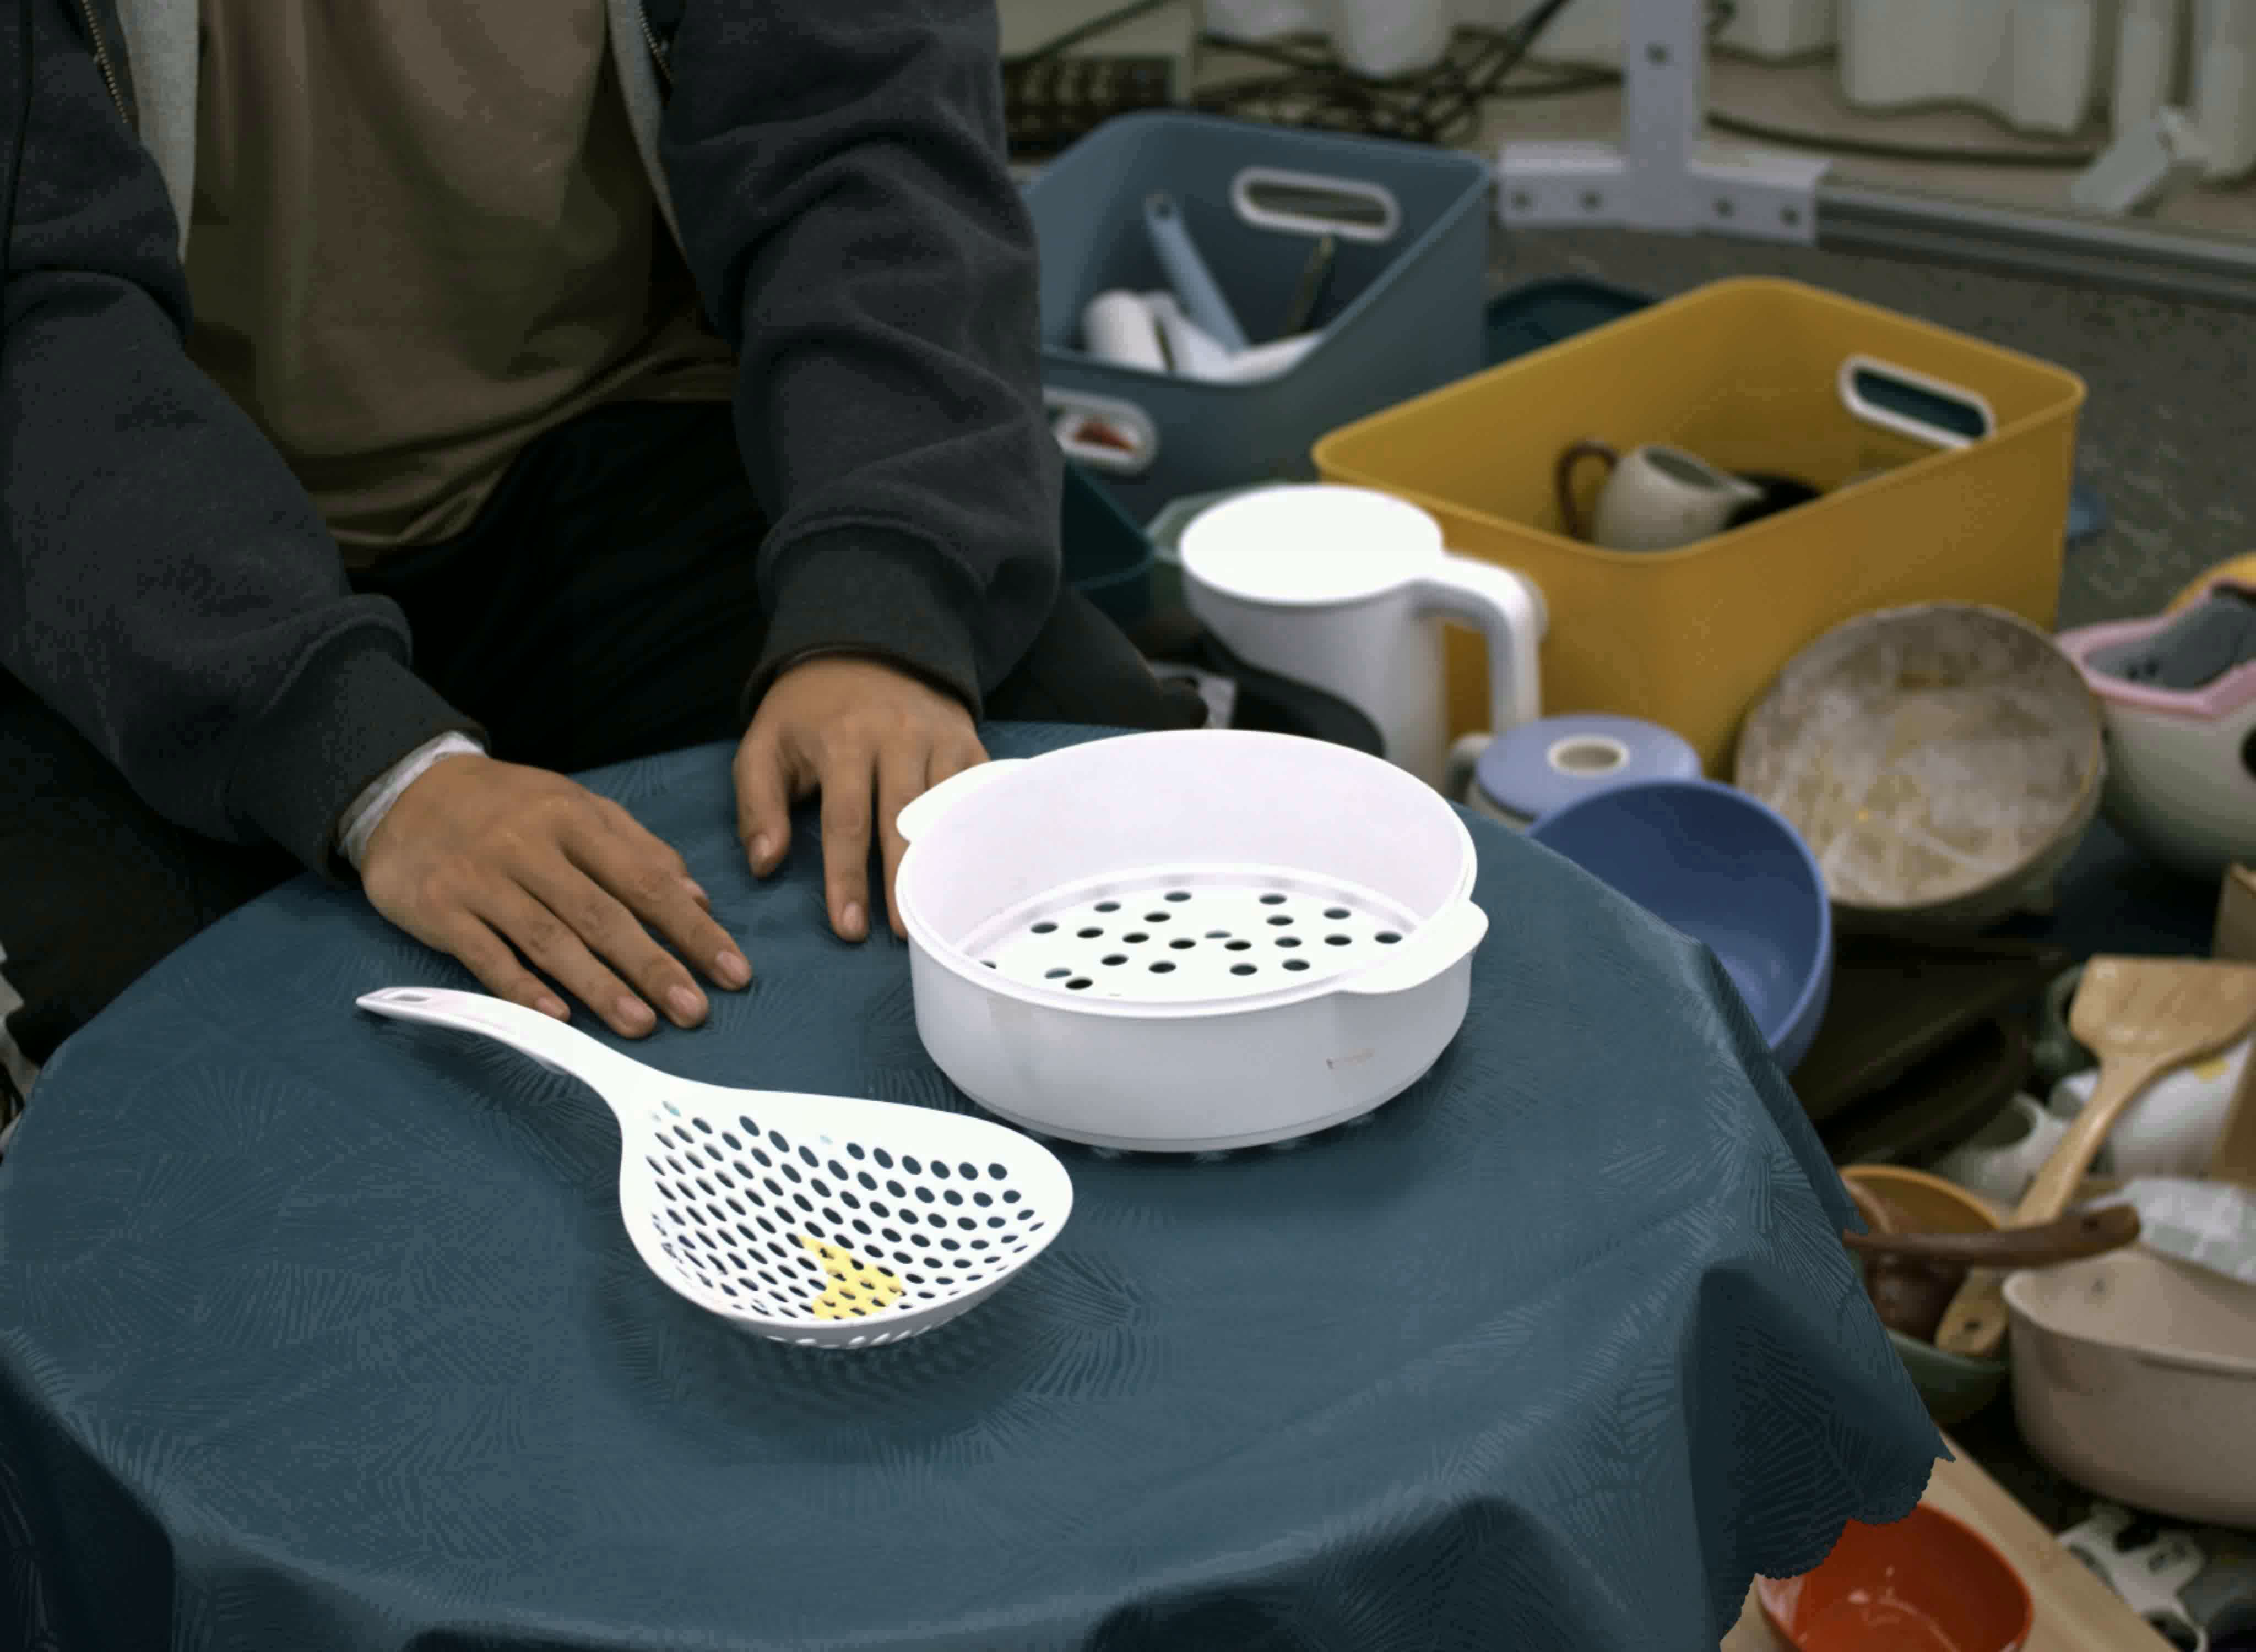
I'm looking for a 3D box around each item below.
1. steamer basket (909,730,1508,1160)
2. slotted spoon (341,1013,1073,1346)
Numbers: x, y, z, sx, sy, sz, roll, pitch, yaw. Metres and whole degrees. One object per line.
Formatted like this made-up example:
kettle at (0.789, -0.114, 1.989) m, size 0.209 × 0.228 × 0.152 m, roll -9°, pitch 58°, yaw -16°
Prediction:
steamer basket at (0.026, 0.041, 1.941) m, size 0.230 × 0.068 × 0.205 m, roll 20°, pitch 35°, yaw 33°
slotted spoon at (-0.157, 0.103, 1.871) m, size 0.138 × 0.050 × 0.348 m, roll -27°, pitch 36°, yaw -33°
